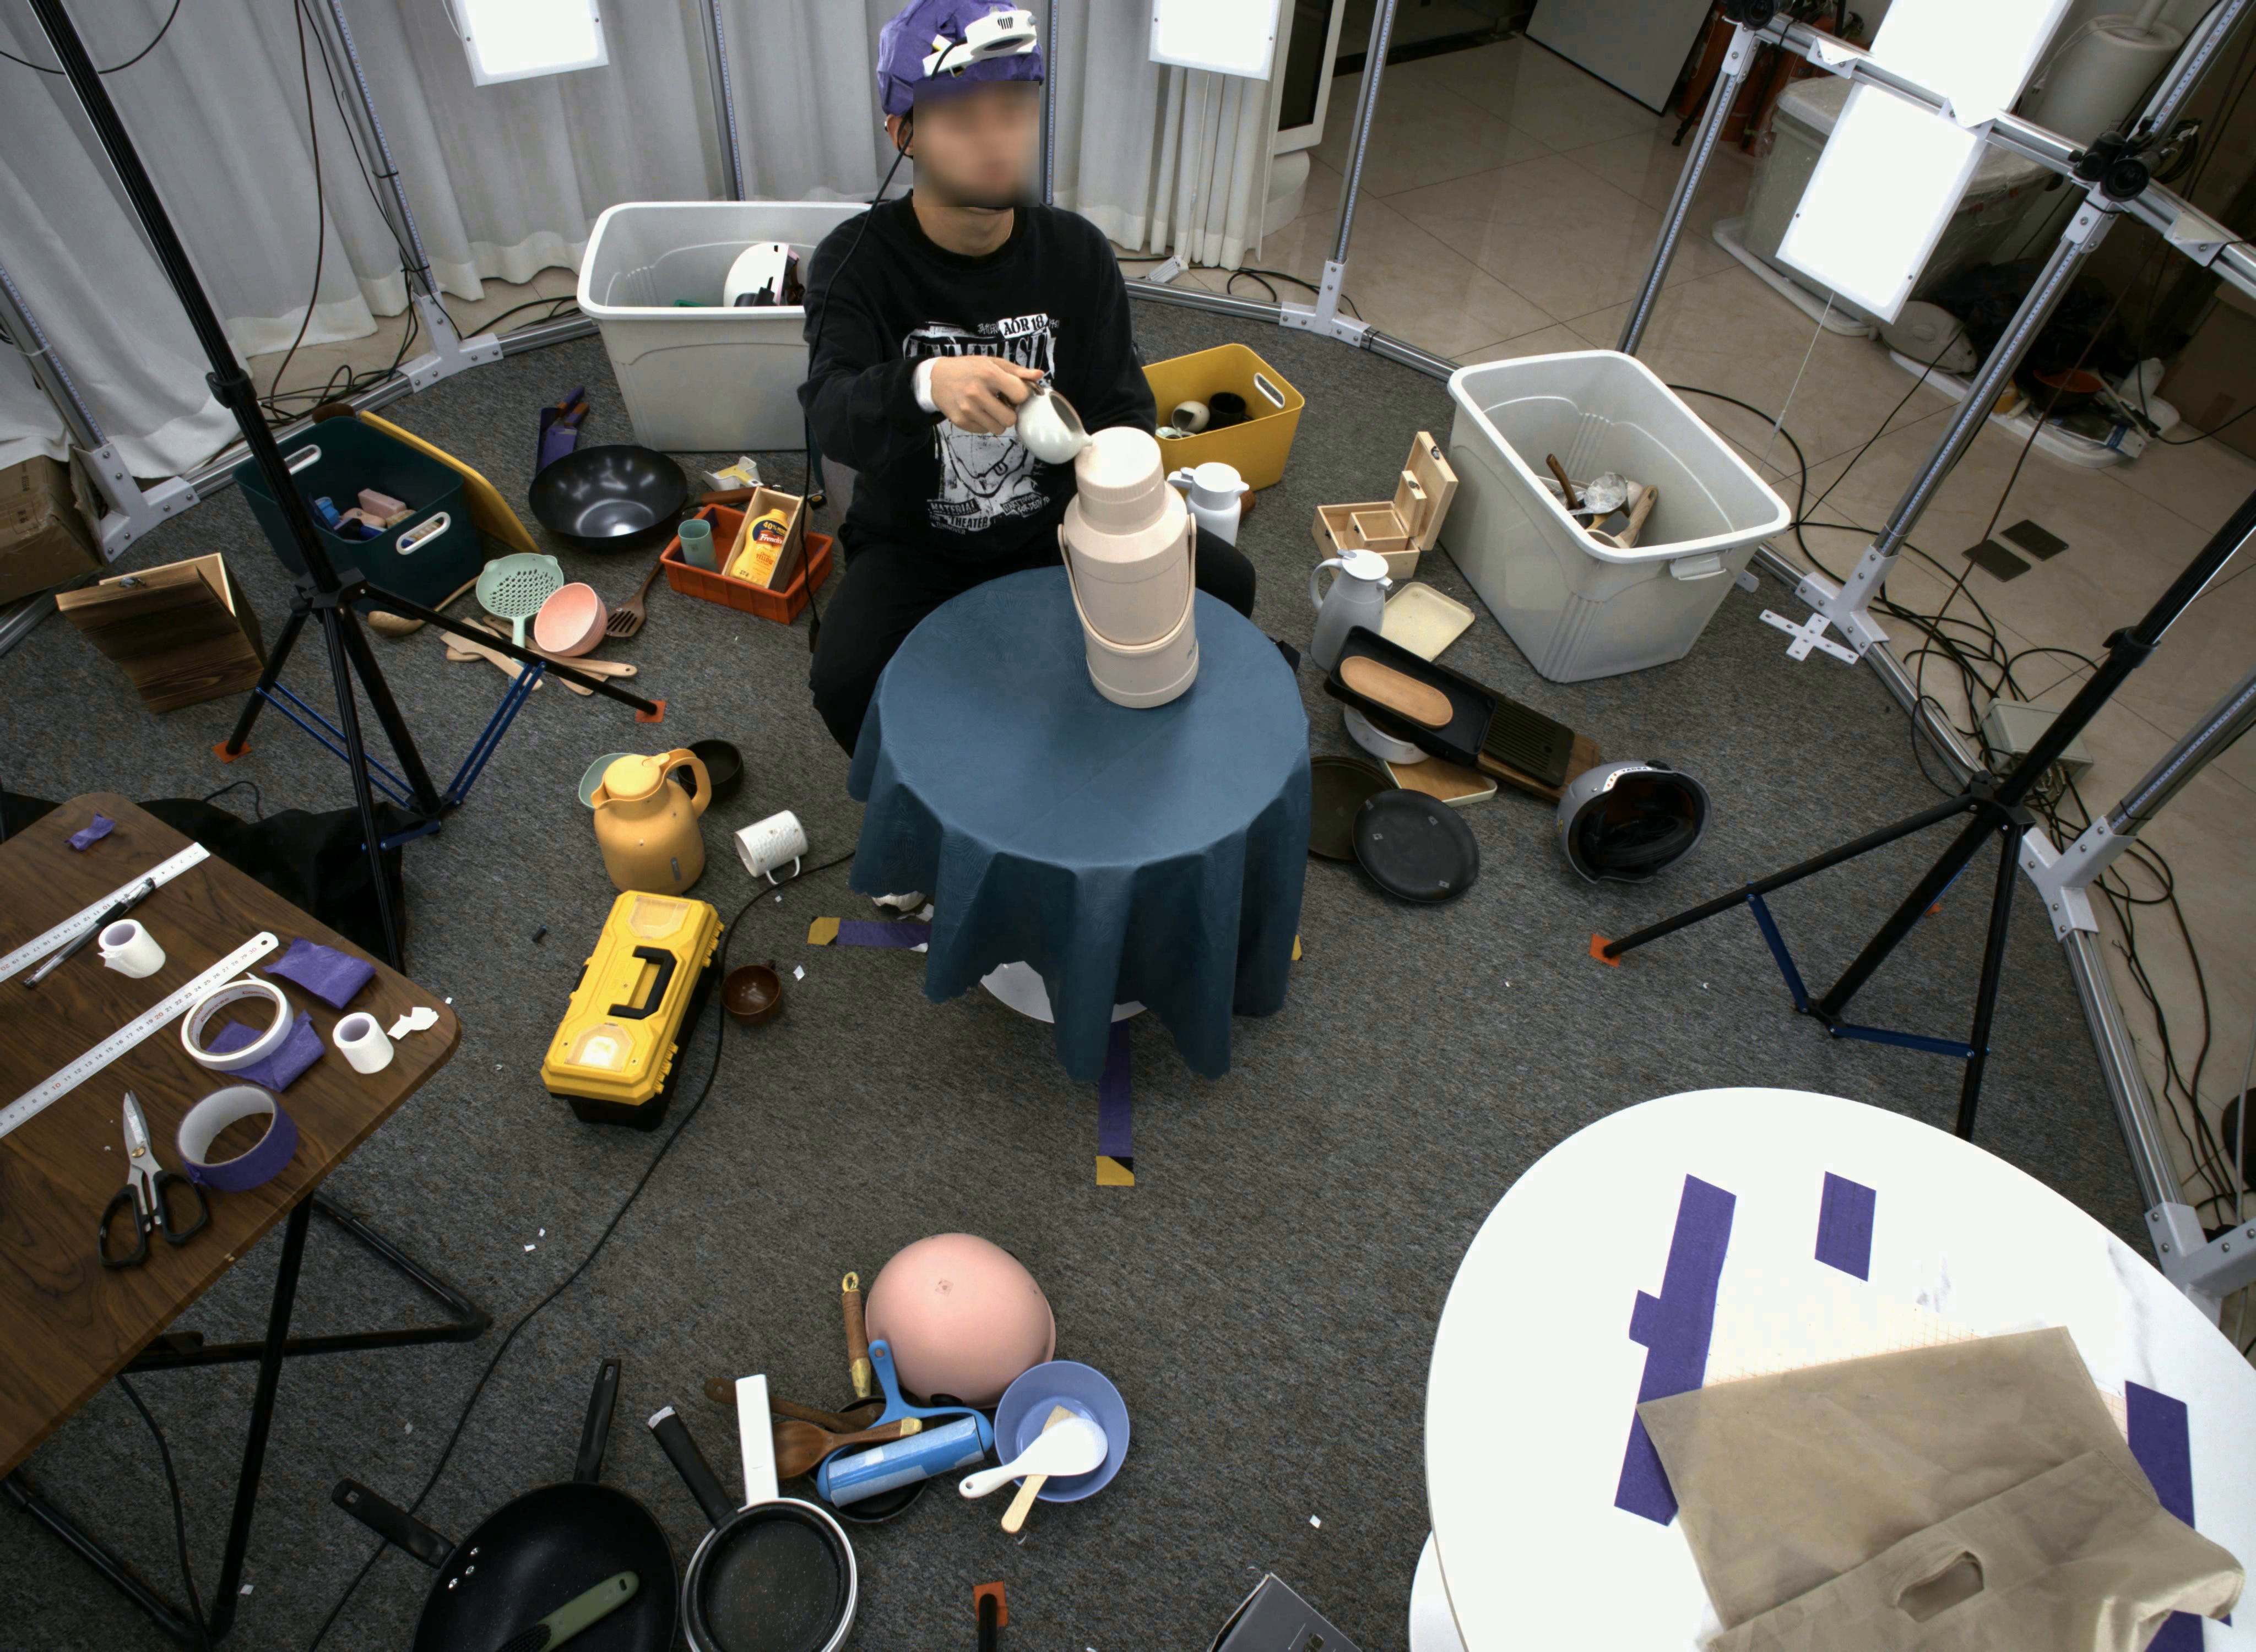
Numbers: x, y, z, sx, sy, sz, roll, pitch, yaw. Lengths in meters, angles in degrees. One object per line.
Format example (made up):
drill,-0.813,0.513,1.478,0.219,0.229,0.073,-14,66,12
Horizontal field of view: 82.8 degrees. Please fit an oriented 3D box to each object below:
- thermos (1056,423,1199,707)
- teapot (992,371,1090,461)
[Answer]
thermos,0.005,-0.349,1.700,0.175,0.397,0.212,-6,57,5
teapot,-0.103,-0.474,1.500,0.059,0.126,0.094,-28,46,28
